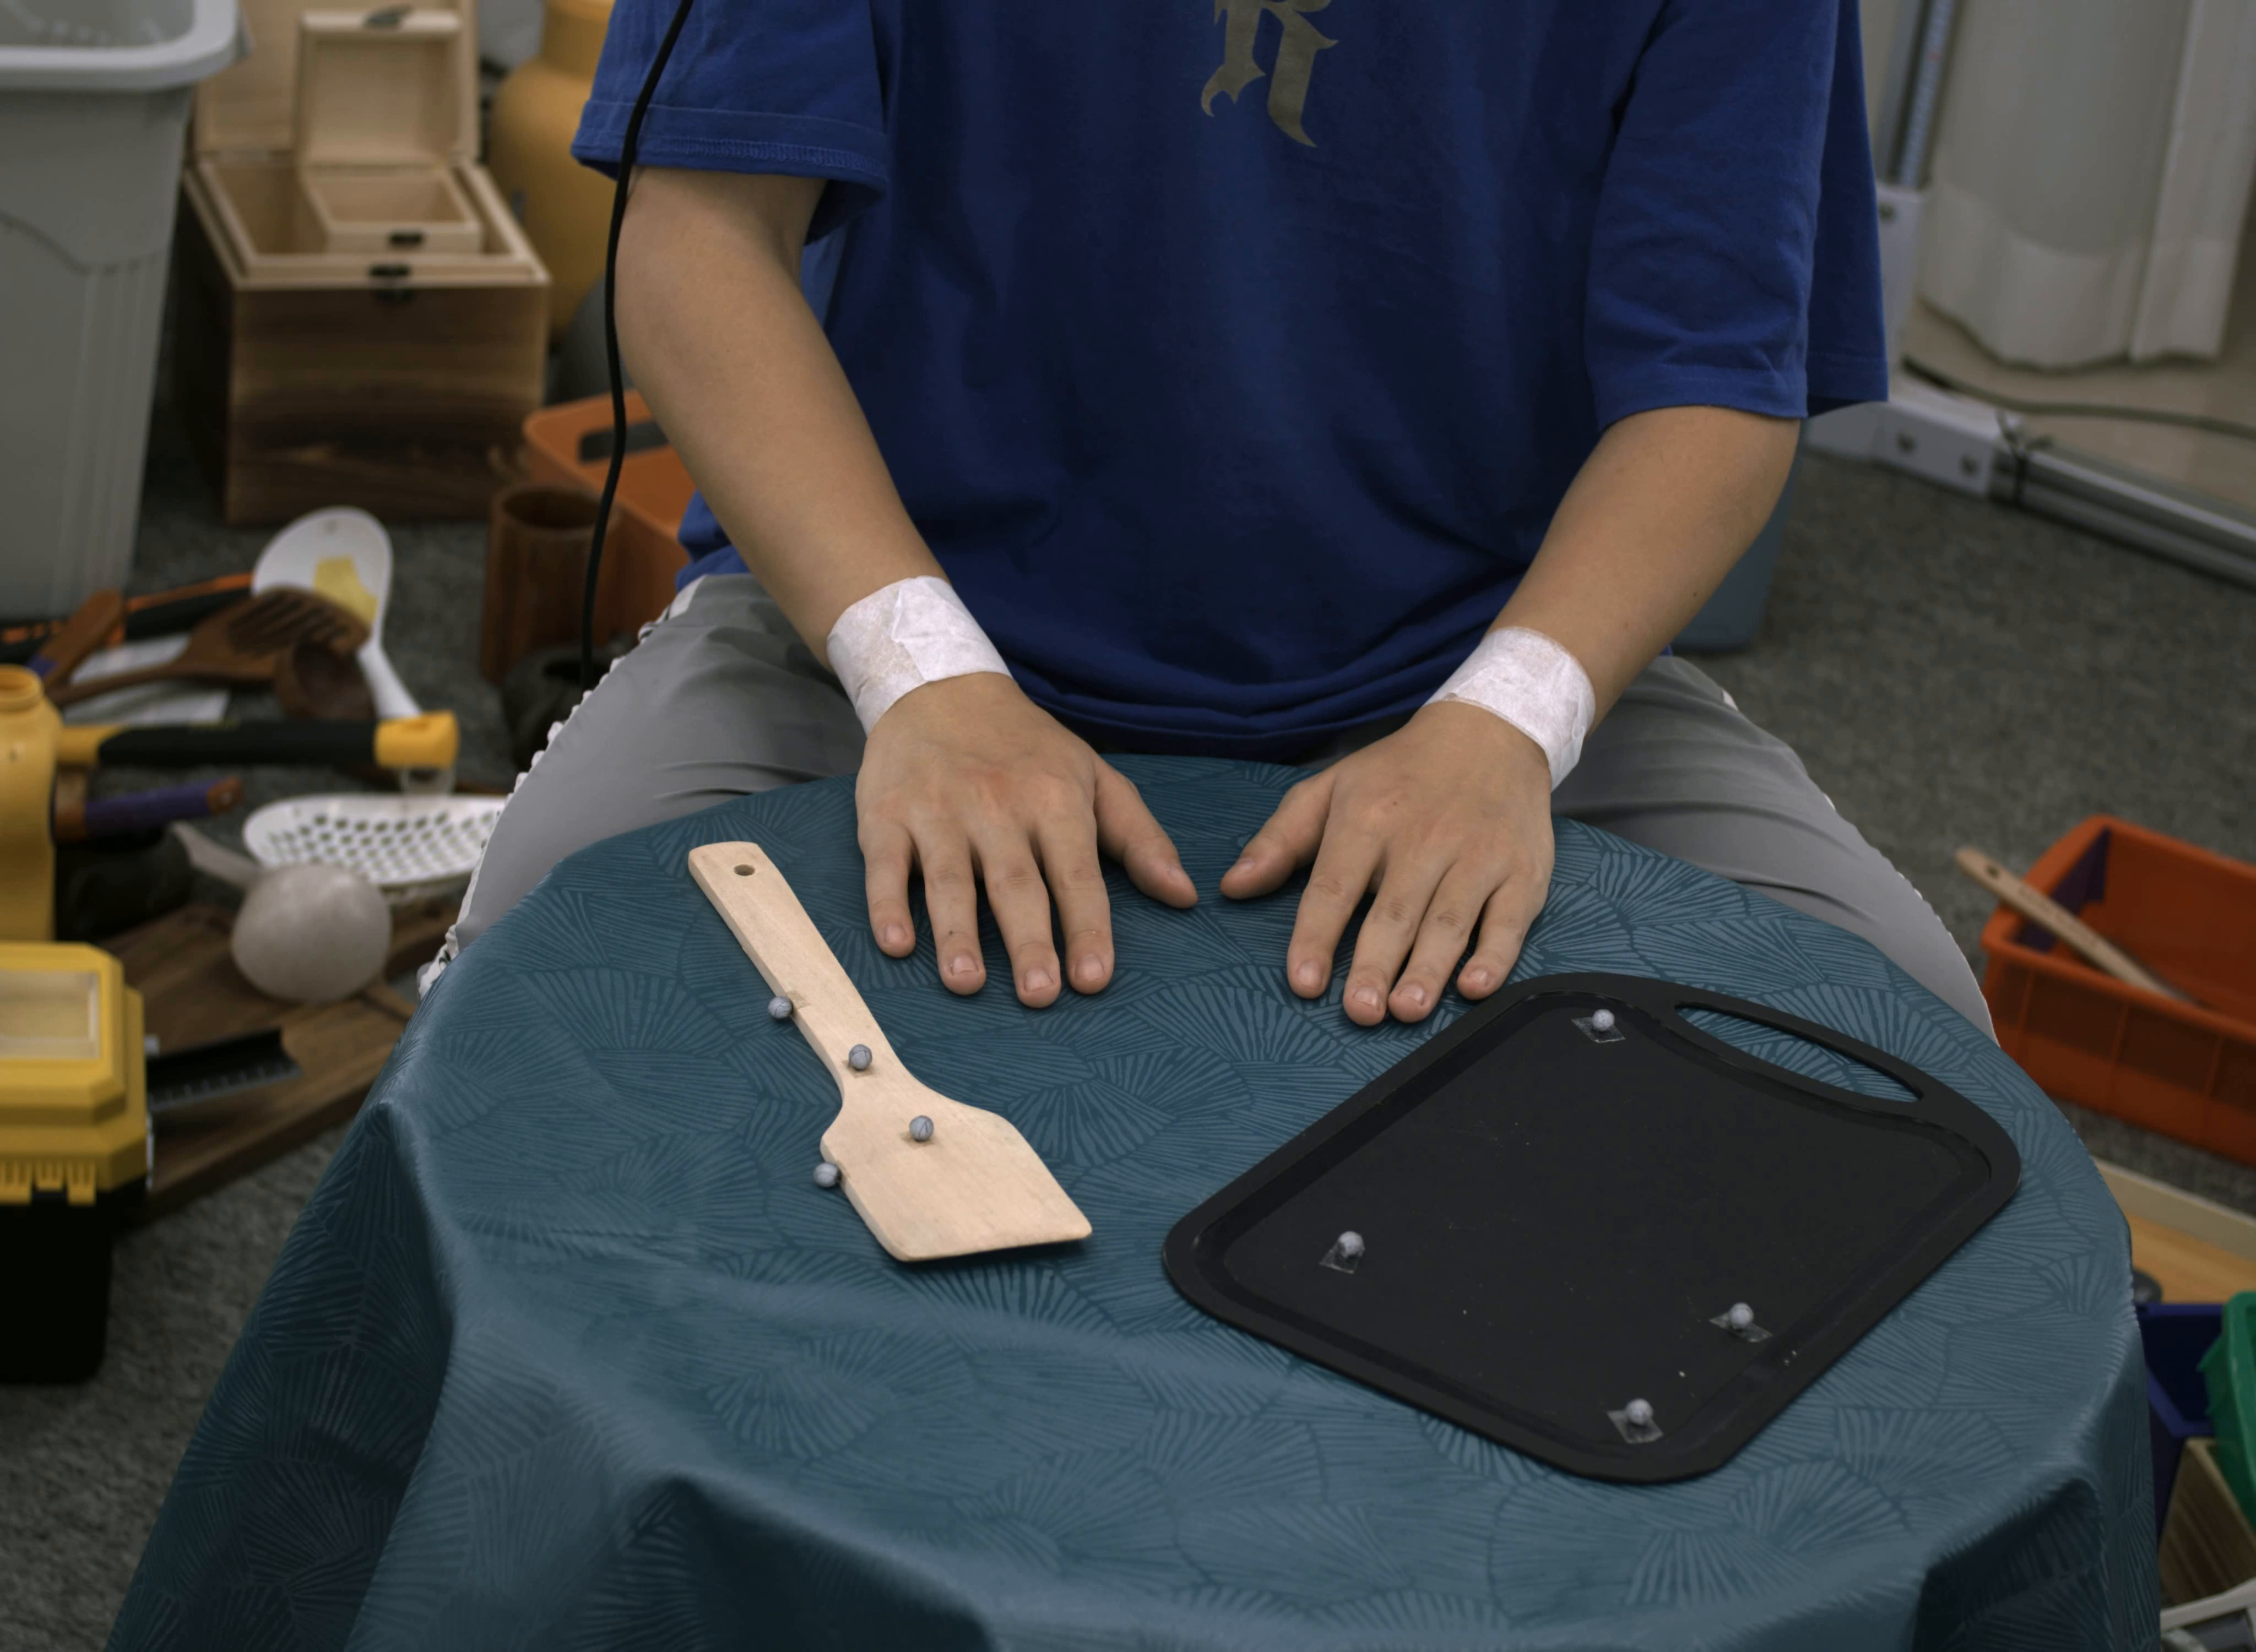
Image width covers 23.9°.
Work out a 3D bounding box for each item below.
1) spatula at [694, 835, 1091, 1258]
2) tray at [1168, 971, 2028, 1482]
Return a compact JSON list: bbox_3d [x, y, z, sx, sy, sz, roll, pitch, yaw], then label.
[{"bbox_3d":[-0.098,0.073,1.870,0.072,0.010,0.296,-7,30,-22],"label":"spatula"},{"bbox_3d":[0.169,0.126,1.829,0.212,0.010,0.324,22,30,28],"label":"tray"}]
